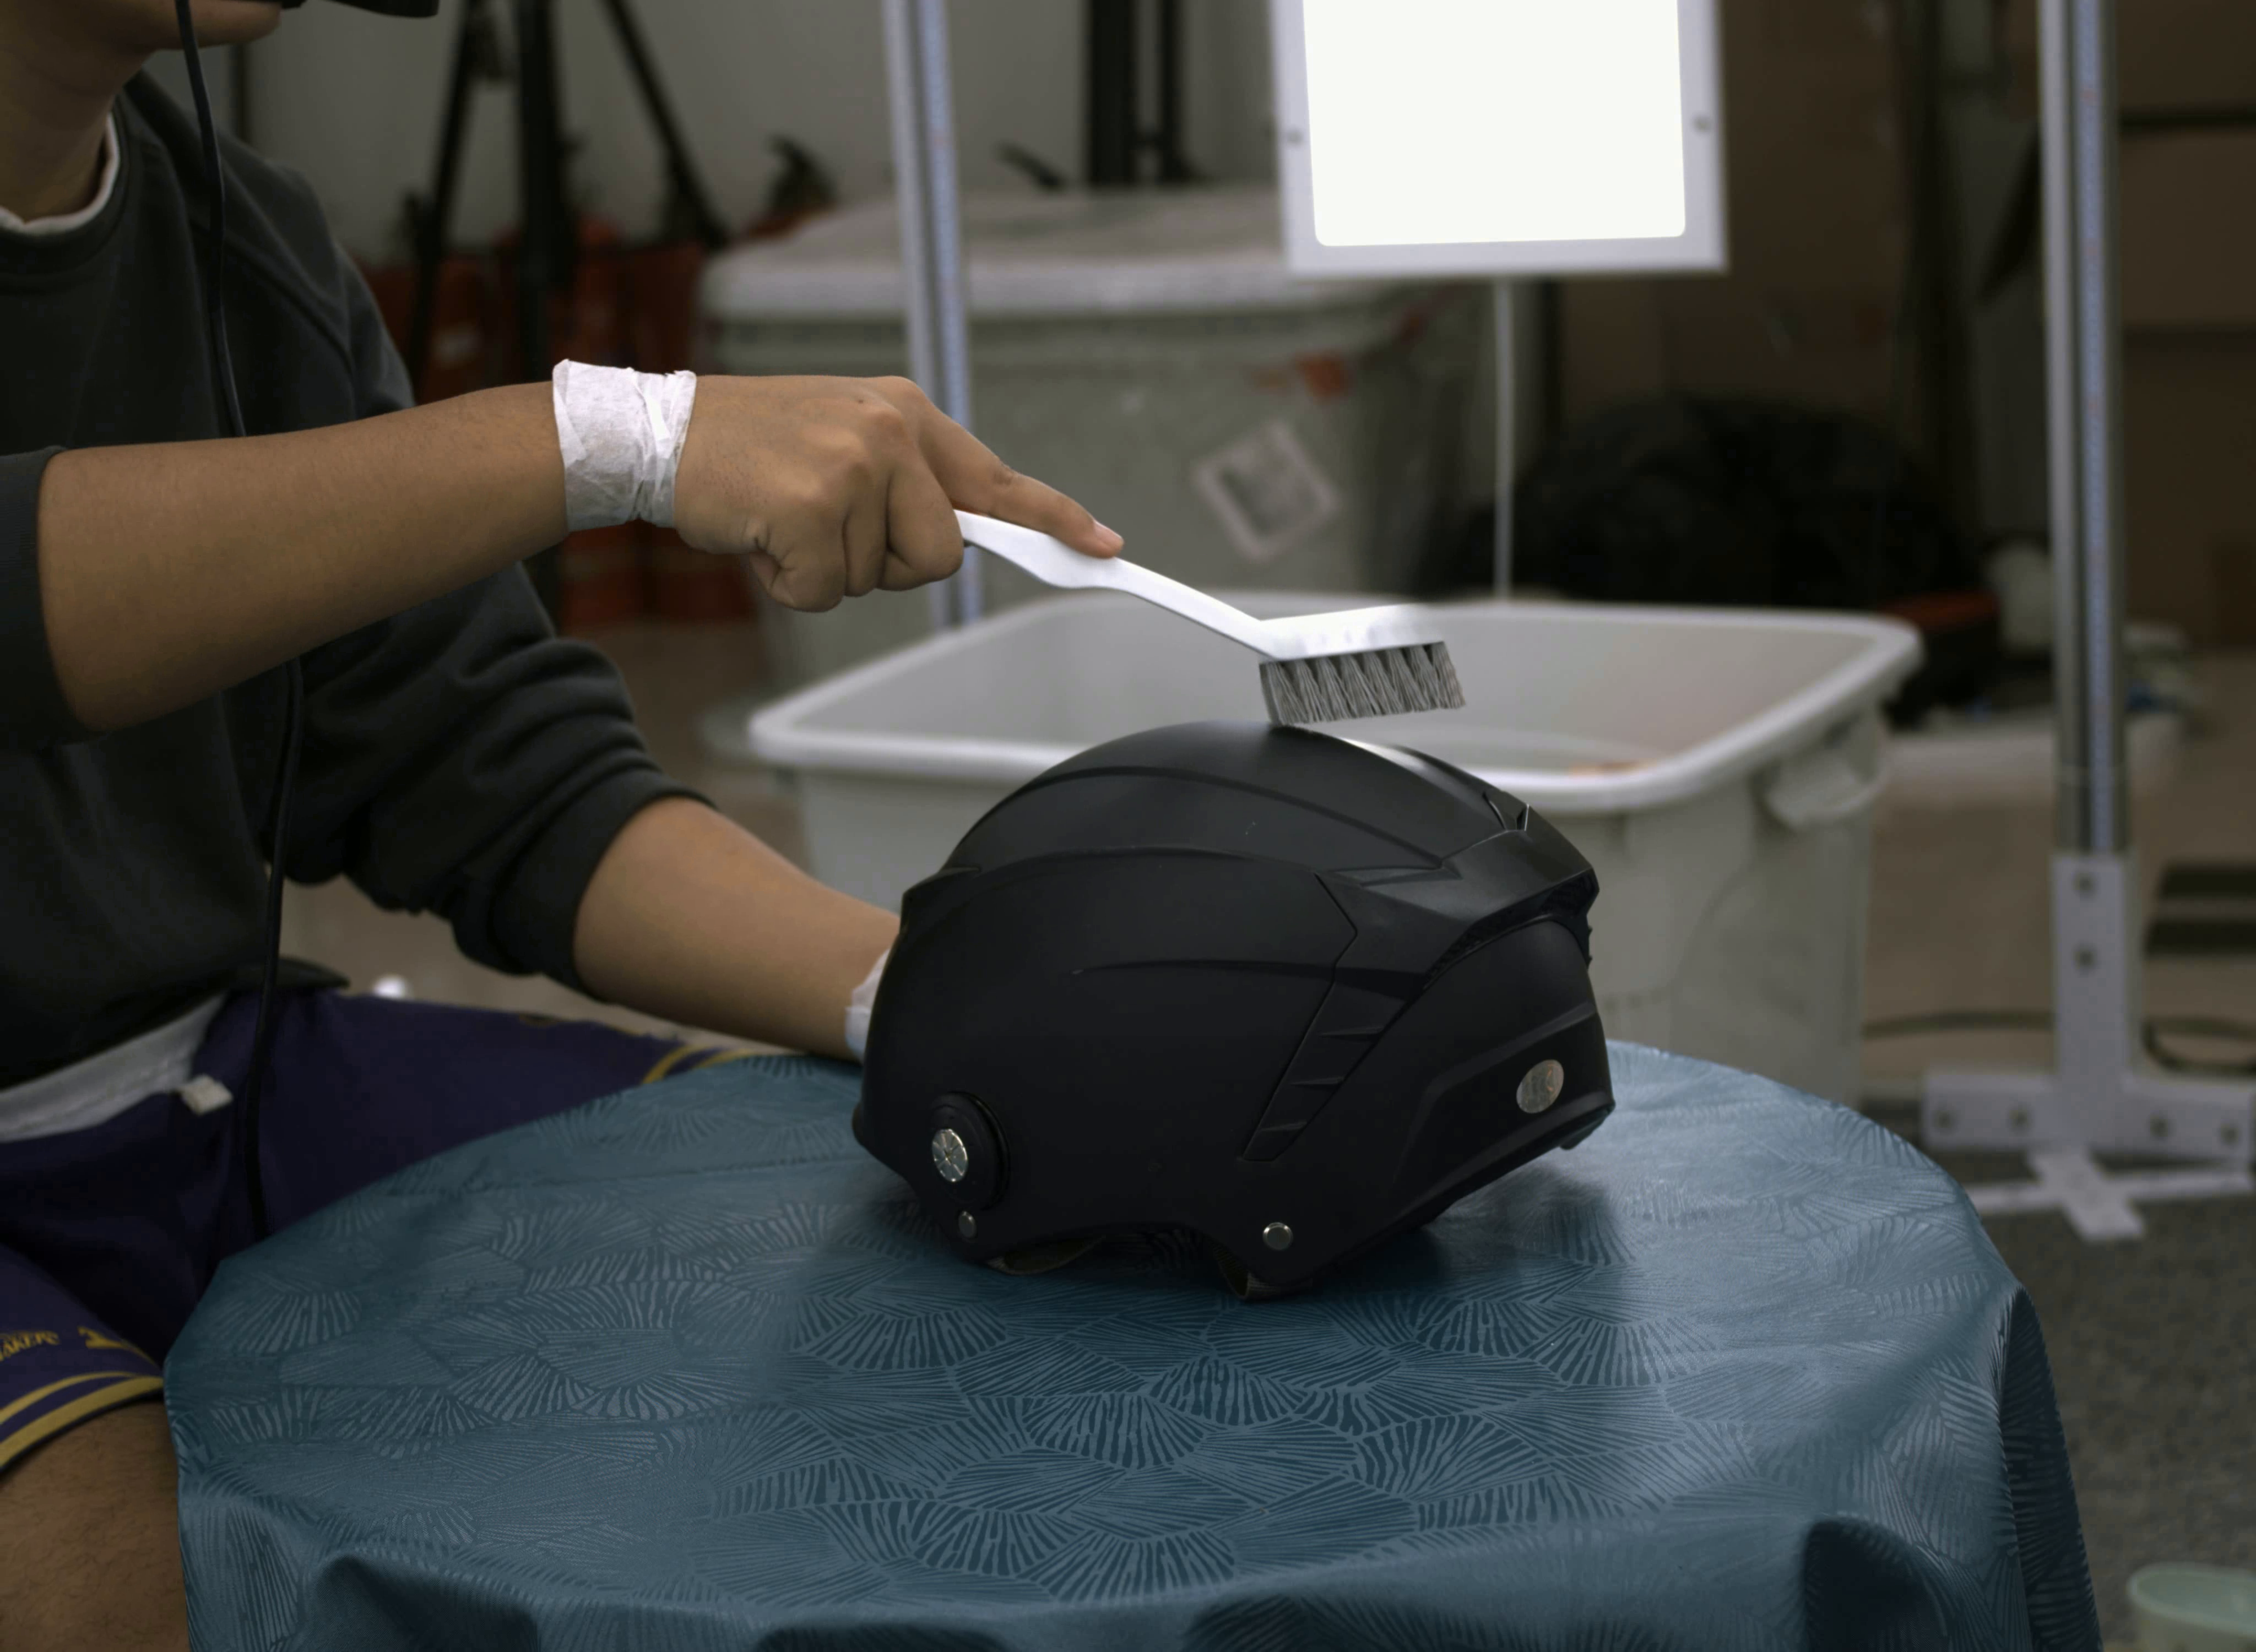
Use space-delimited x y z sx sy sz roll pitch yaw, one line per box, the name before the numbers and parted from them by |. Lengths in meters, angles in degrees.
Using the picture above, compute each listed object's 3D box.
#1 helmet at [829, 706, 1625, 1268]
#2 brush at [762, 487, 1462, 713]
helmet | 0.034 0.046 1.864 0.282 0.173 0.240 12 23 41
brush | -0.005 -0.072 1.830 0.241 0.050 0.034 9 4 -10
